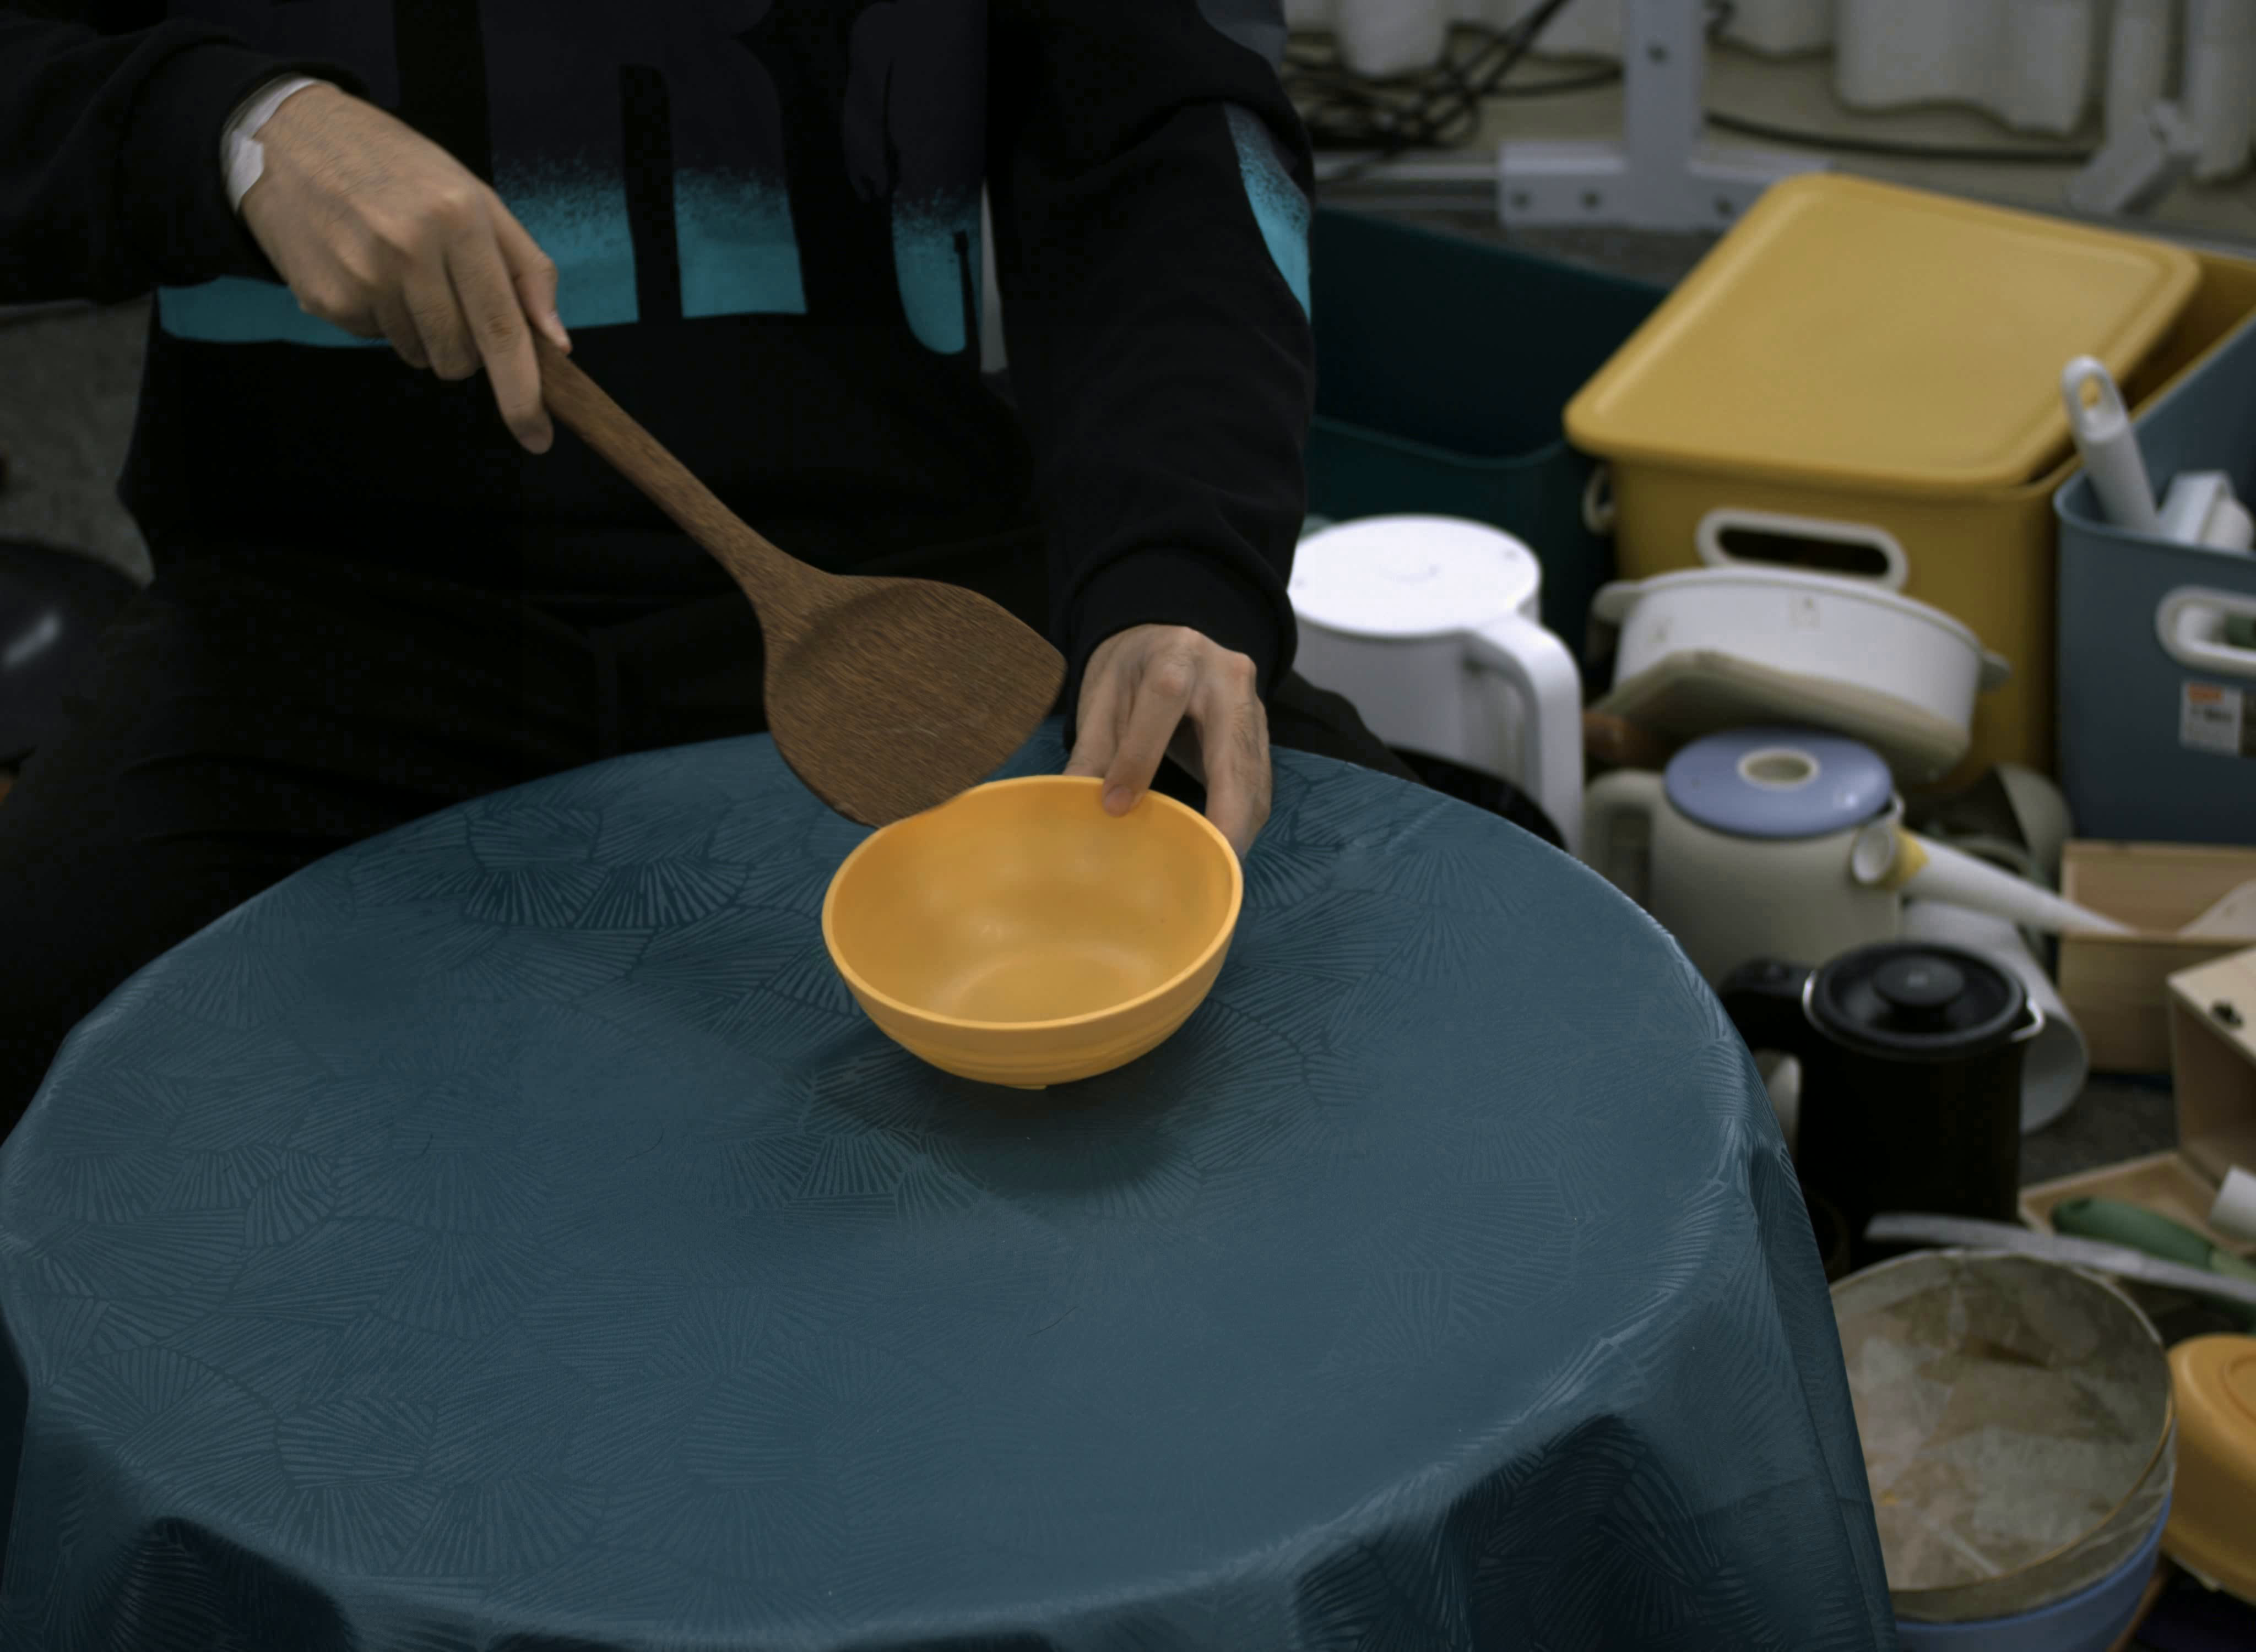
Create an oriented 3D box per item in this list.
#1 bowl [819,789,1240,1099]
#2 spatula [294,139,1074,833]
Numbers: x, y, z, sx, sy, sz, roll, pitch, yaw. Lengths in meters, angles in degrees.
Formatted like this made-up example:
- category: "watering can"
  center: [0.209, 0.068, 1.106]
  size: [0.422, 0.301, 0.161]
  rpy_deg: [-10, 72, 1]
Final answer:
- category: "bowl"
  center: [-0.032, 0.051, 1.934]
  size: [0.144, 0.059, 0.148]
  rpy_deg: [-2, 33, 2]
- category: "spatula"
  center: [-0.170, -0.130, 1.960]
  size: [0.097, 0.015, 0.388]
  rpy_deg: [-39, 62, -18]
